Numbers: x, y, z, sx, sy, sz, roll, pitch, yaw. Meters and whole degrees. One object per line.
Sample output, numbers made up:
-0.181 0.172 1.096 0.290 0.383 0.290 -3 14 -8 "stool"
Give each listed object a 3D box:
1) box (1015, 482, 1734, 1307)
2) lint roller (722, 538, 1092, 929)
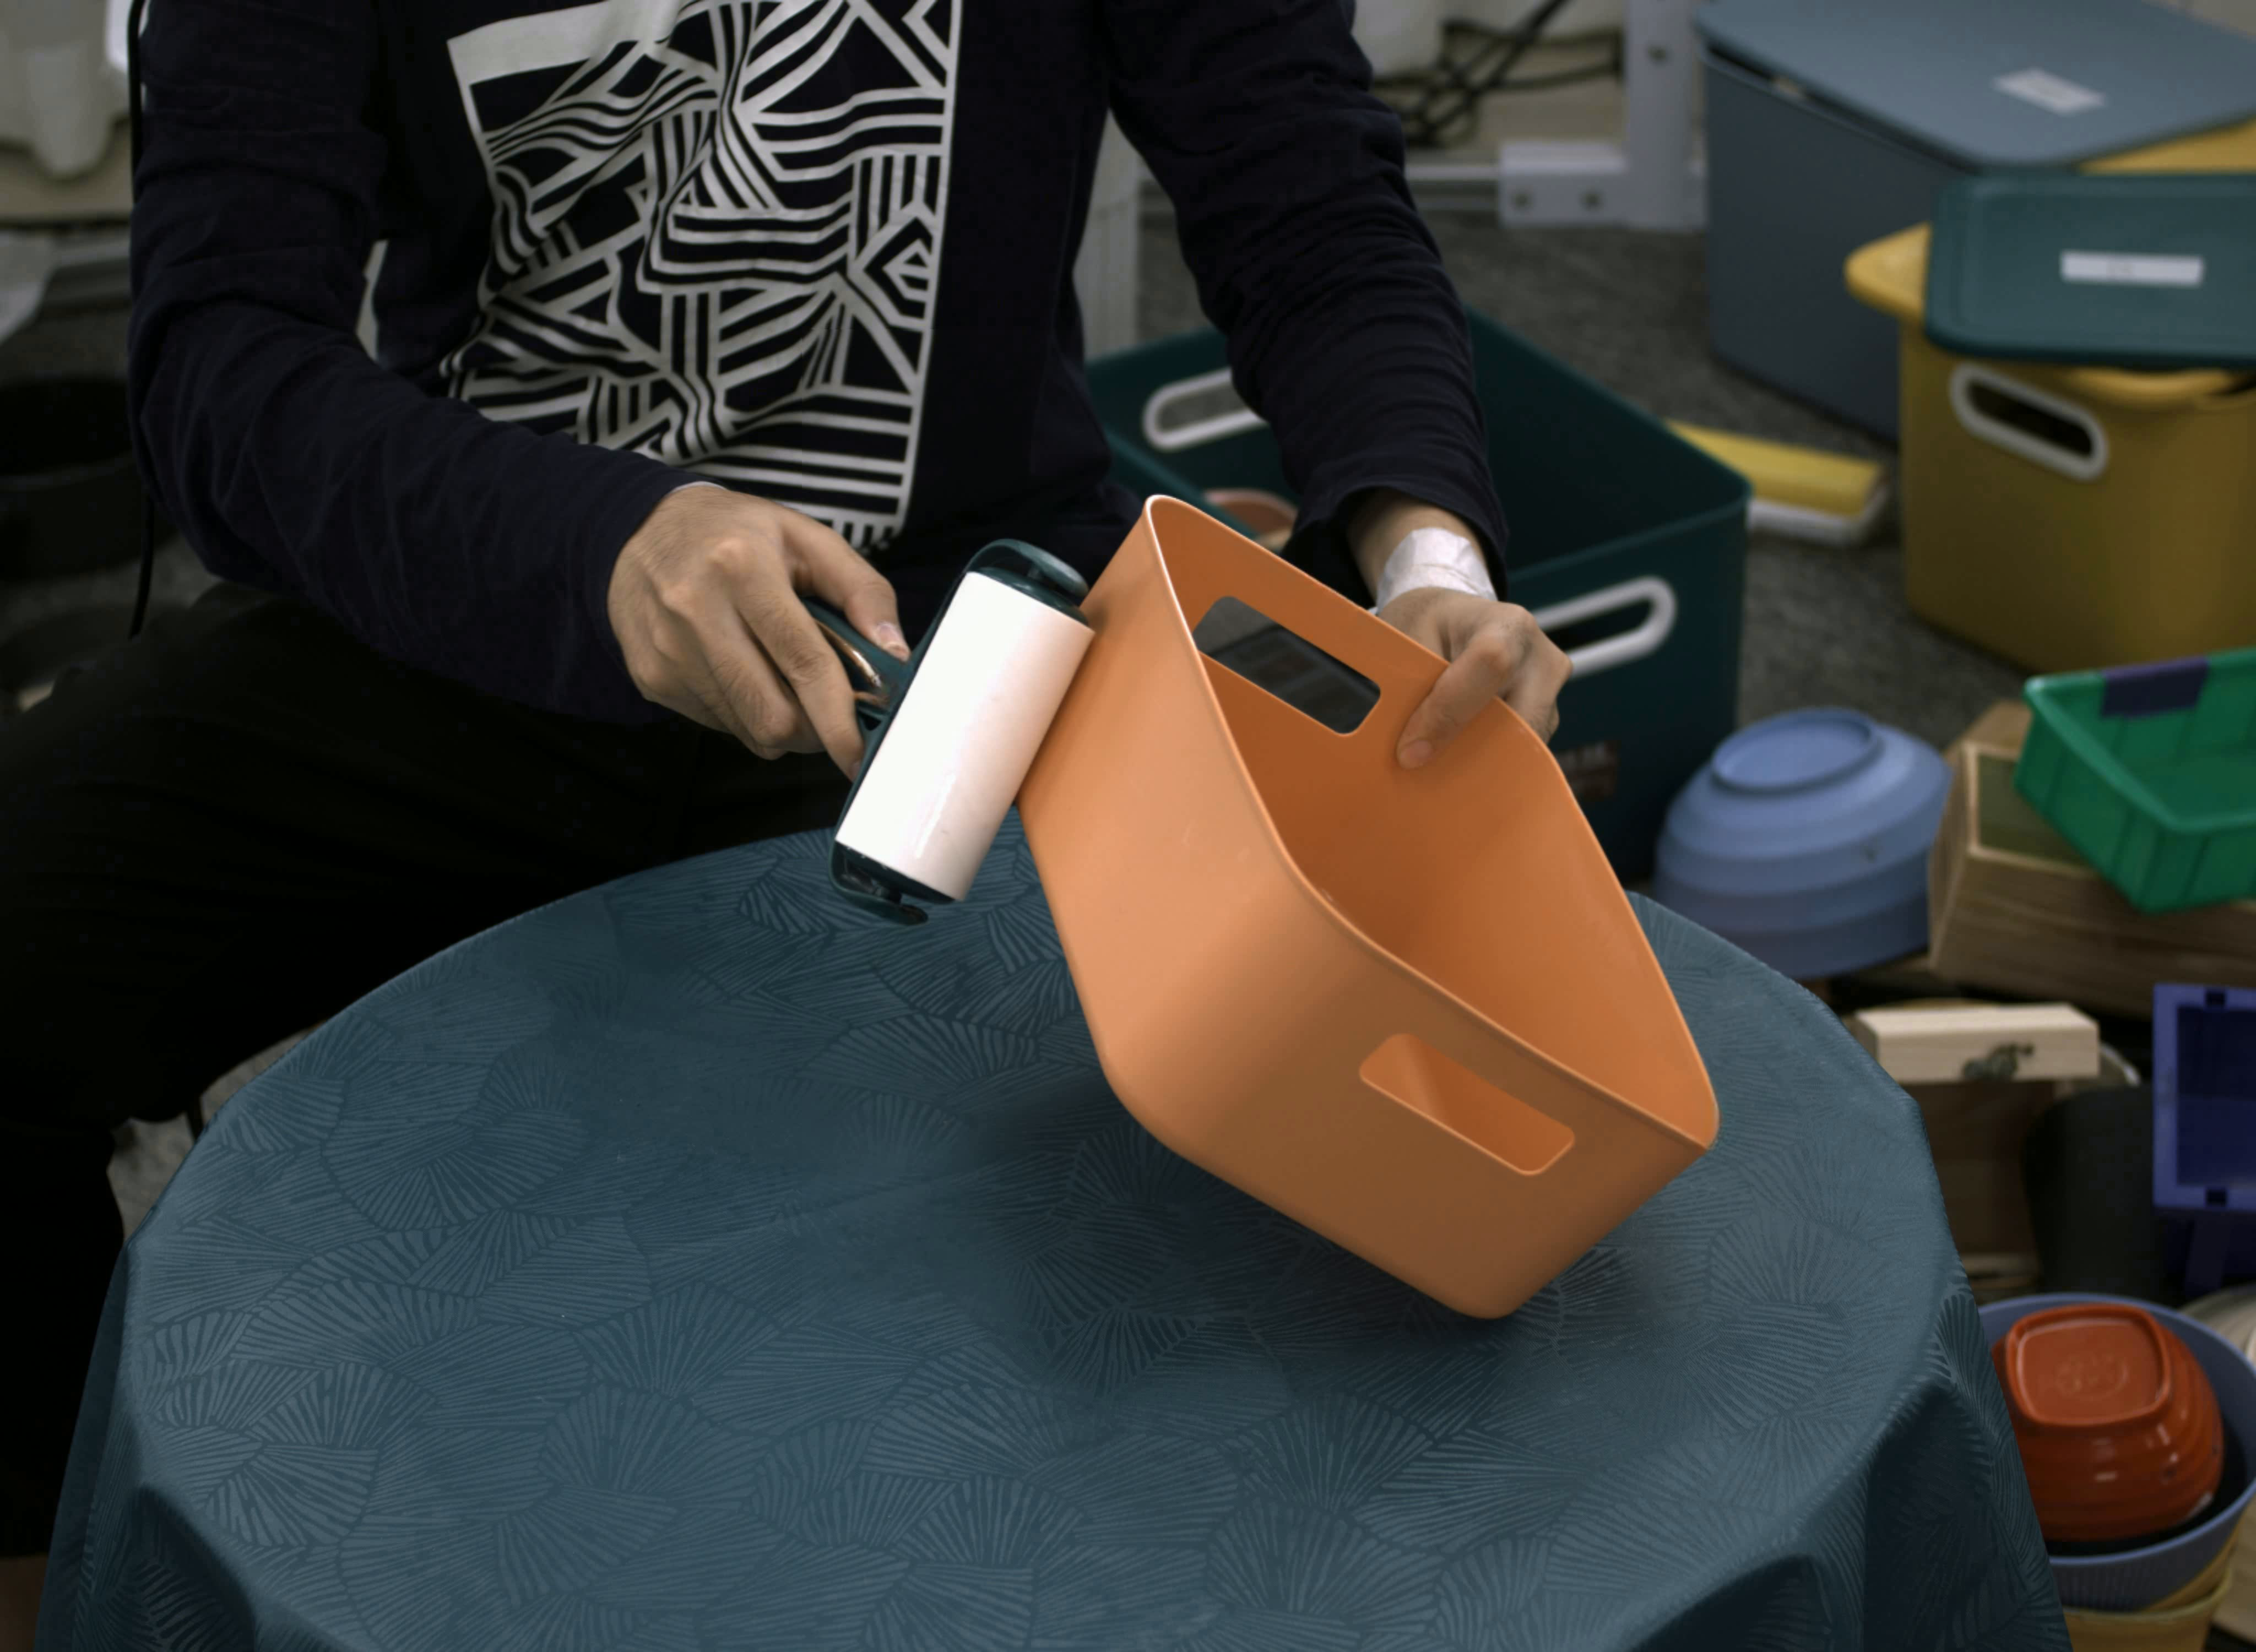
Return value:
0.066 0.024 1.820 0.198 0.101 0.277 32 20 -29 "box"
-0.095 -0.049 1.882 0.180 0.135 0.048 24 -4 46 "lint roller"
